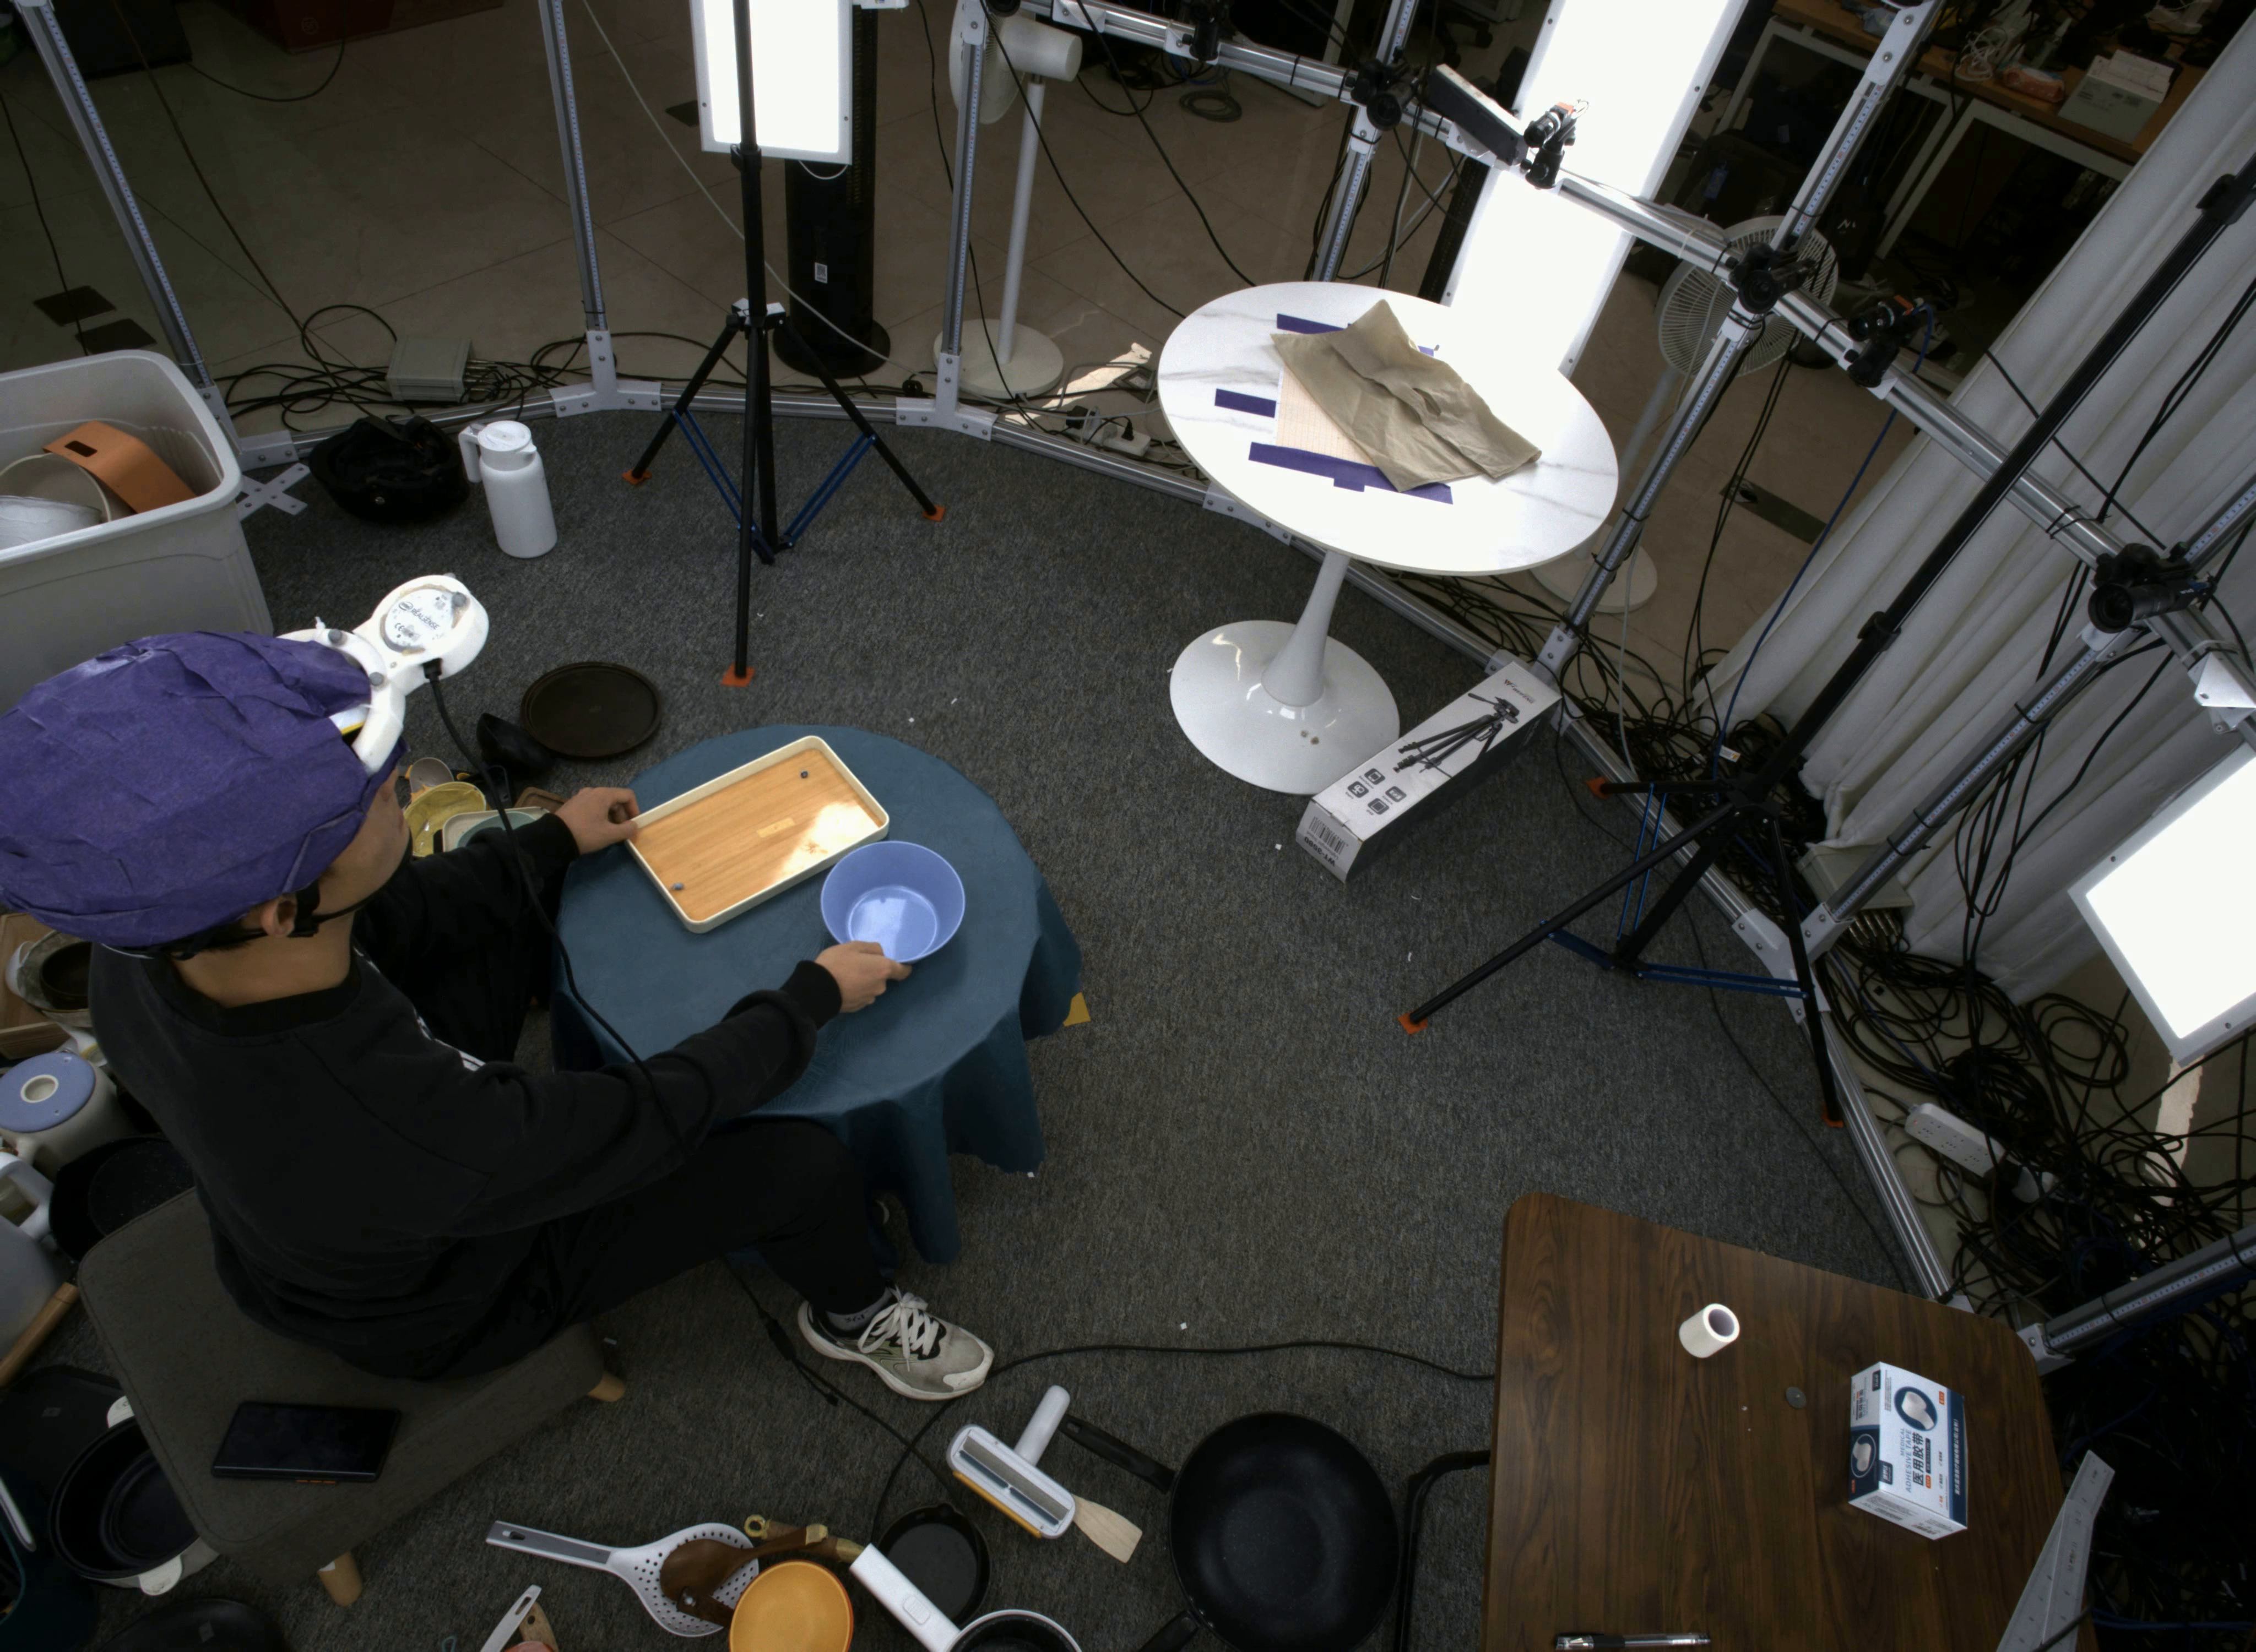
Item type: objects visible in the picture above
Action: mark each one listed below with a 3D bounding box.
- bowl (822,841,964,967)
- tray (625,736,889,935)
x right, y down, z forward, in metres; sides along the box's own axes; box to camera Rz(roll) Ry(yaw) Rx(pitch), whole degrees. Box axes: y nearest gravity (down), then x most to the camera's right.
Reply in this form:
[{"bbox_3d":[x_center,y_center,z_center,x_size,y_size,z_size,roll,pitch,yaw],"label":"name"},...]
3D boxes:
[{"bbox_3d":[-0.294,0.108,1.633,0.176,0.071,0.173,8,54,-9],"label":"bowl"},{"bbox_3d":[-0.483,0.004,1.694,0.301,0.028,0.187,-31,66,-31],"label":"tray"}]
